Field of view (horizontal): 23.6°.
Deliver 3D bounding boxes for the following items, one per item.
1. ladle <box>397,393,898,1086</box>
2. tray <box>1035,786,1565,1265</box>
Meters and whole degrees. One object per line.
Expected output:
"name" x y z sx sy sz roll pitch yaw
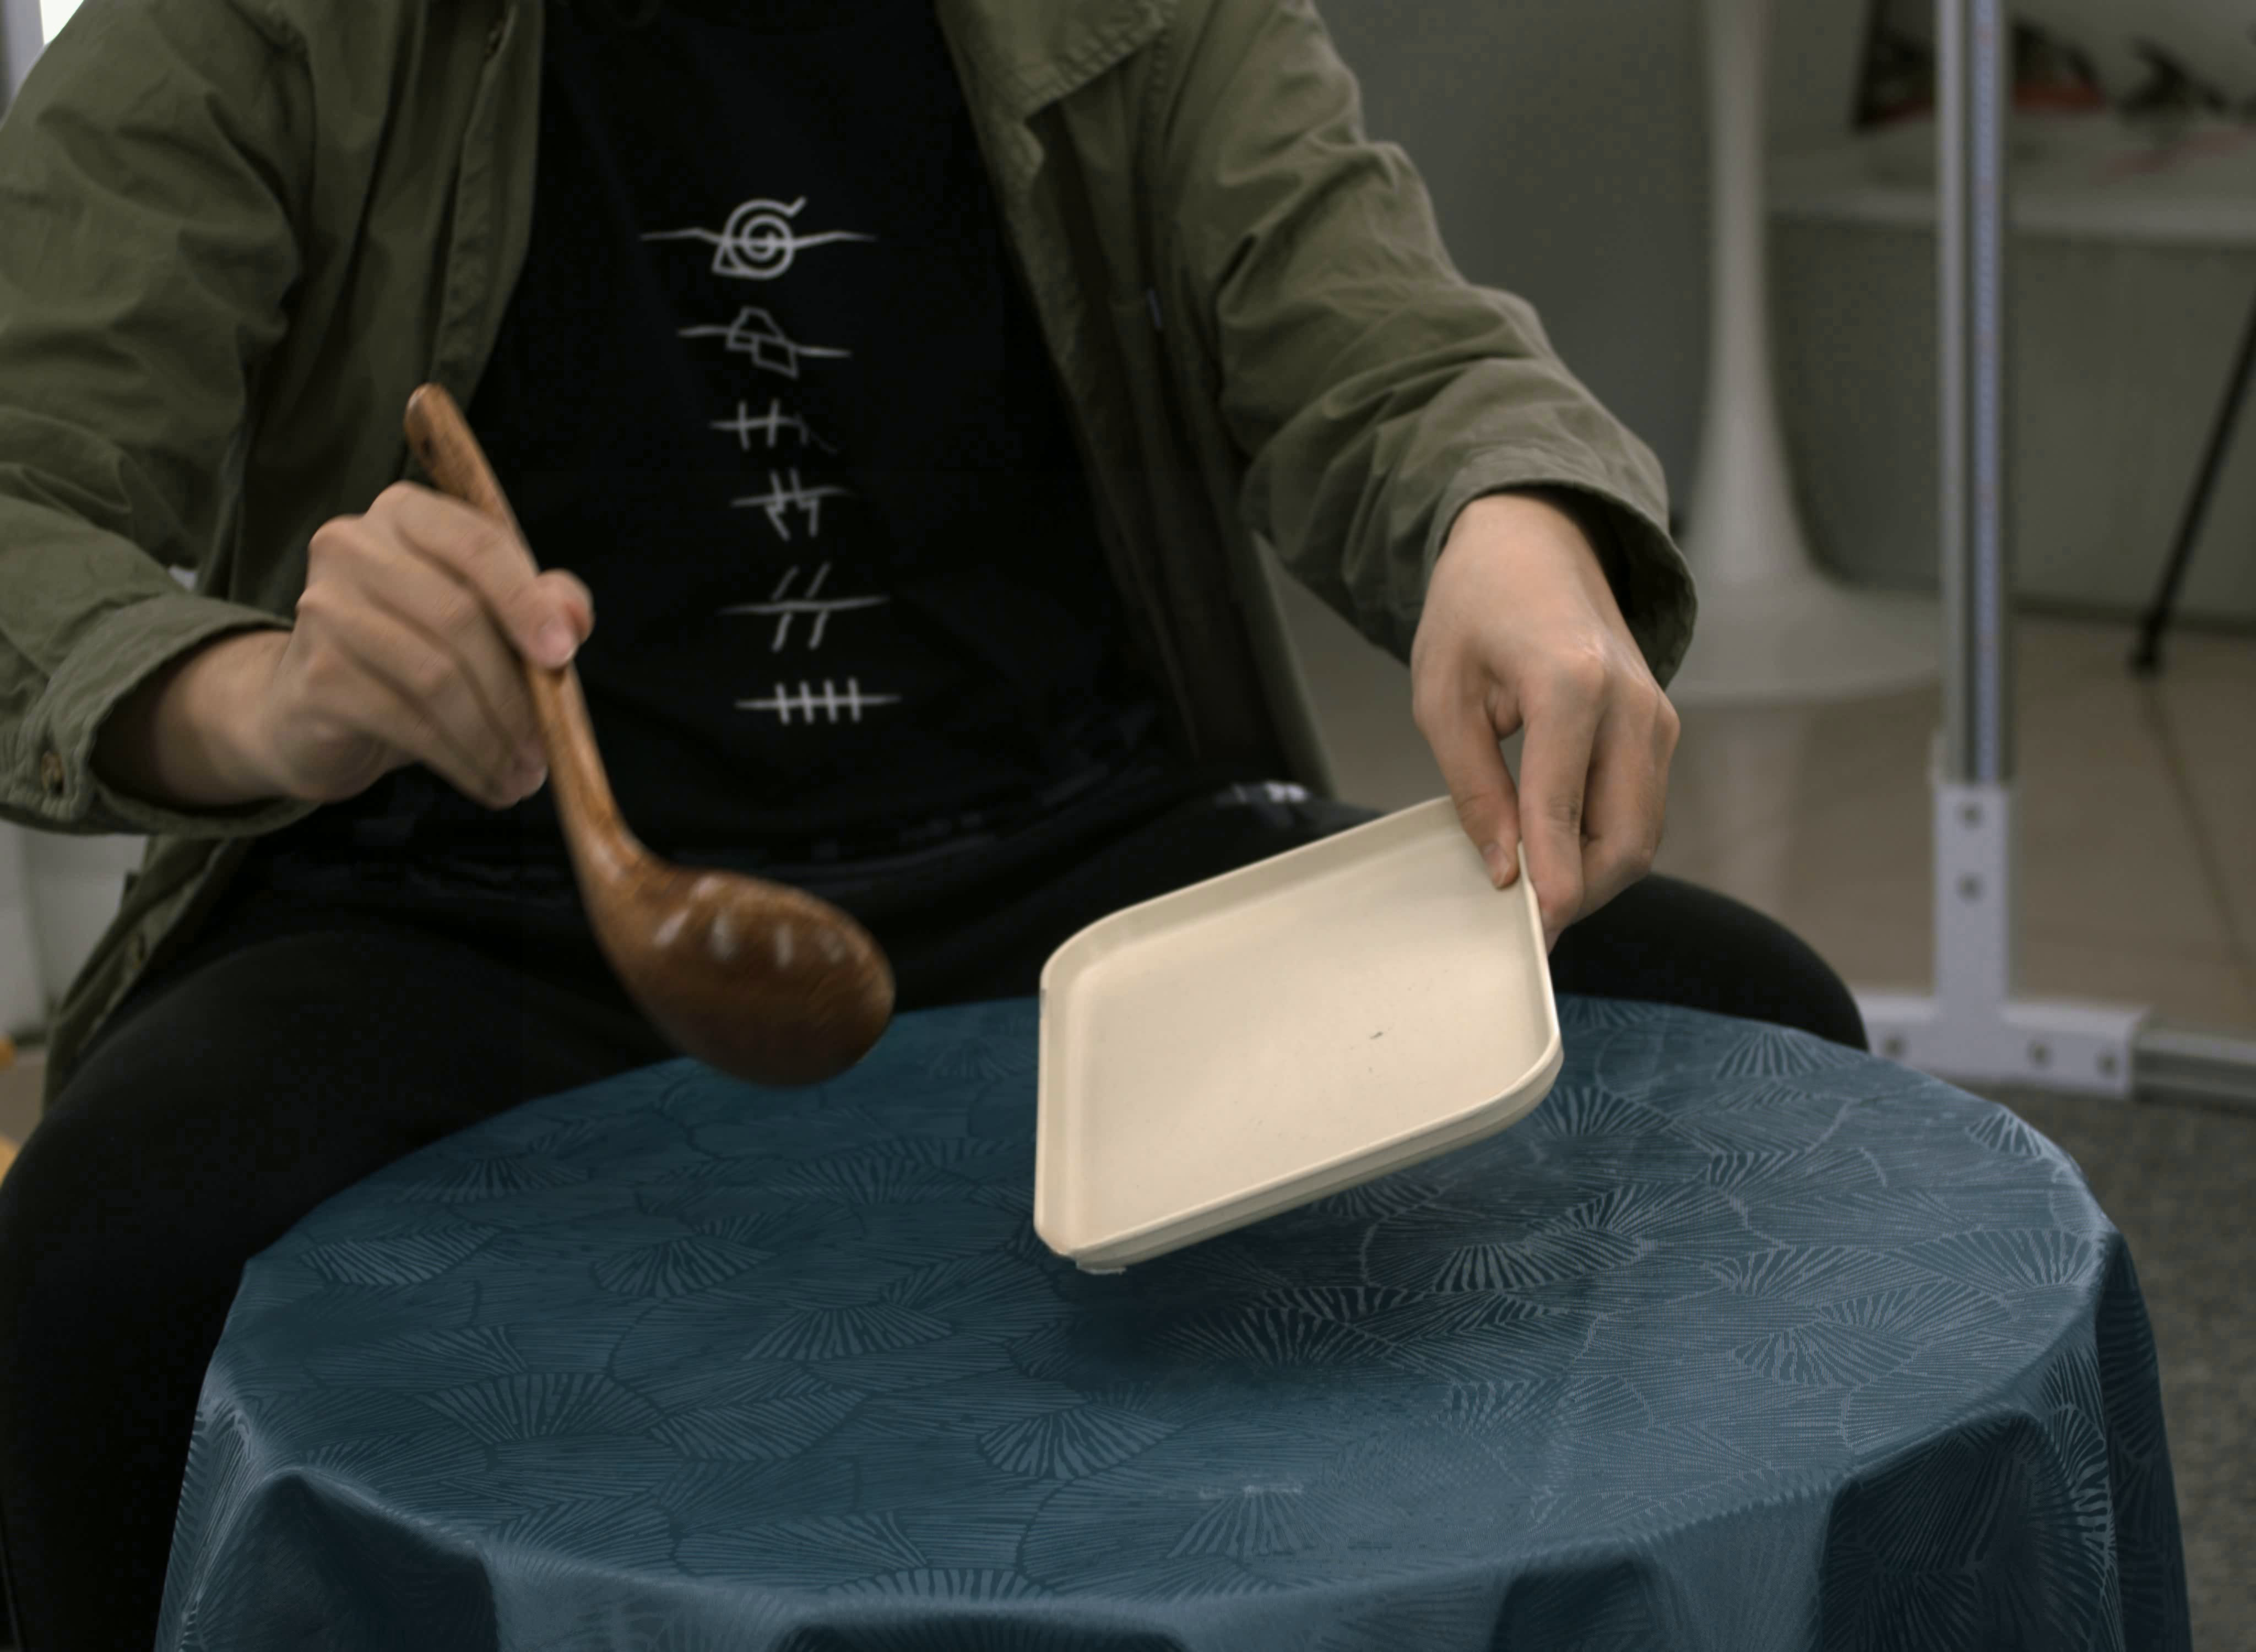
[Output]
"ladle" -0.146 -0.036 1.642 0.075 0.082 0.278 -7 50 -24
"tray" 0.052 0.061 1.682 0.170 0.017 0.240 -21 21 9
